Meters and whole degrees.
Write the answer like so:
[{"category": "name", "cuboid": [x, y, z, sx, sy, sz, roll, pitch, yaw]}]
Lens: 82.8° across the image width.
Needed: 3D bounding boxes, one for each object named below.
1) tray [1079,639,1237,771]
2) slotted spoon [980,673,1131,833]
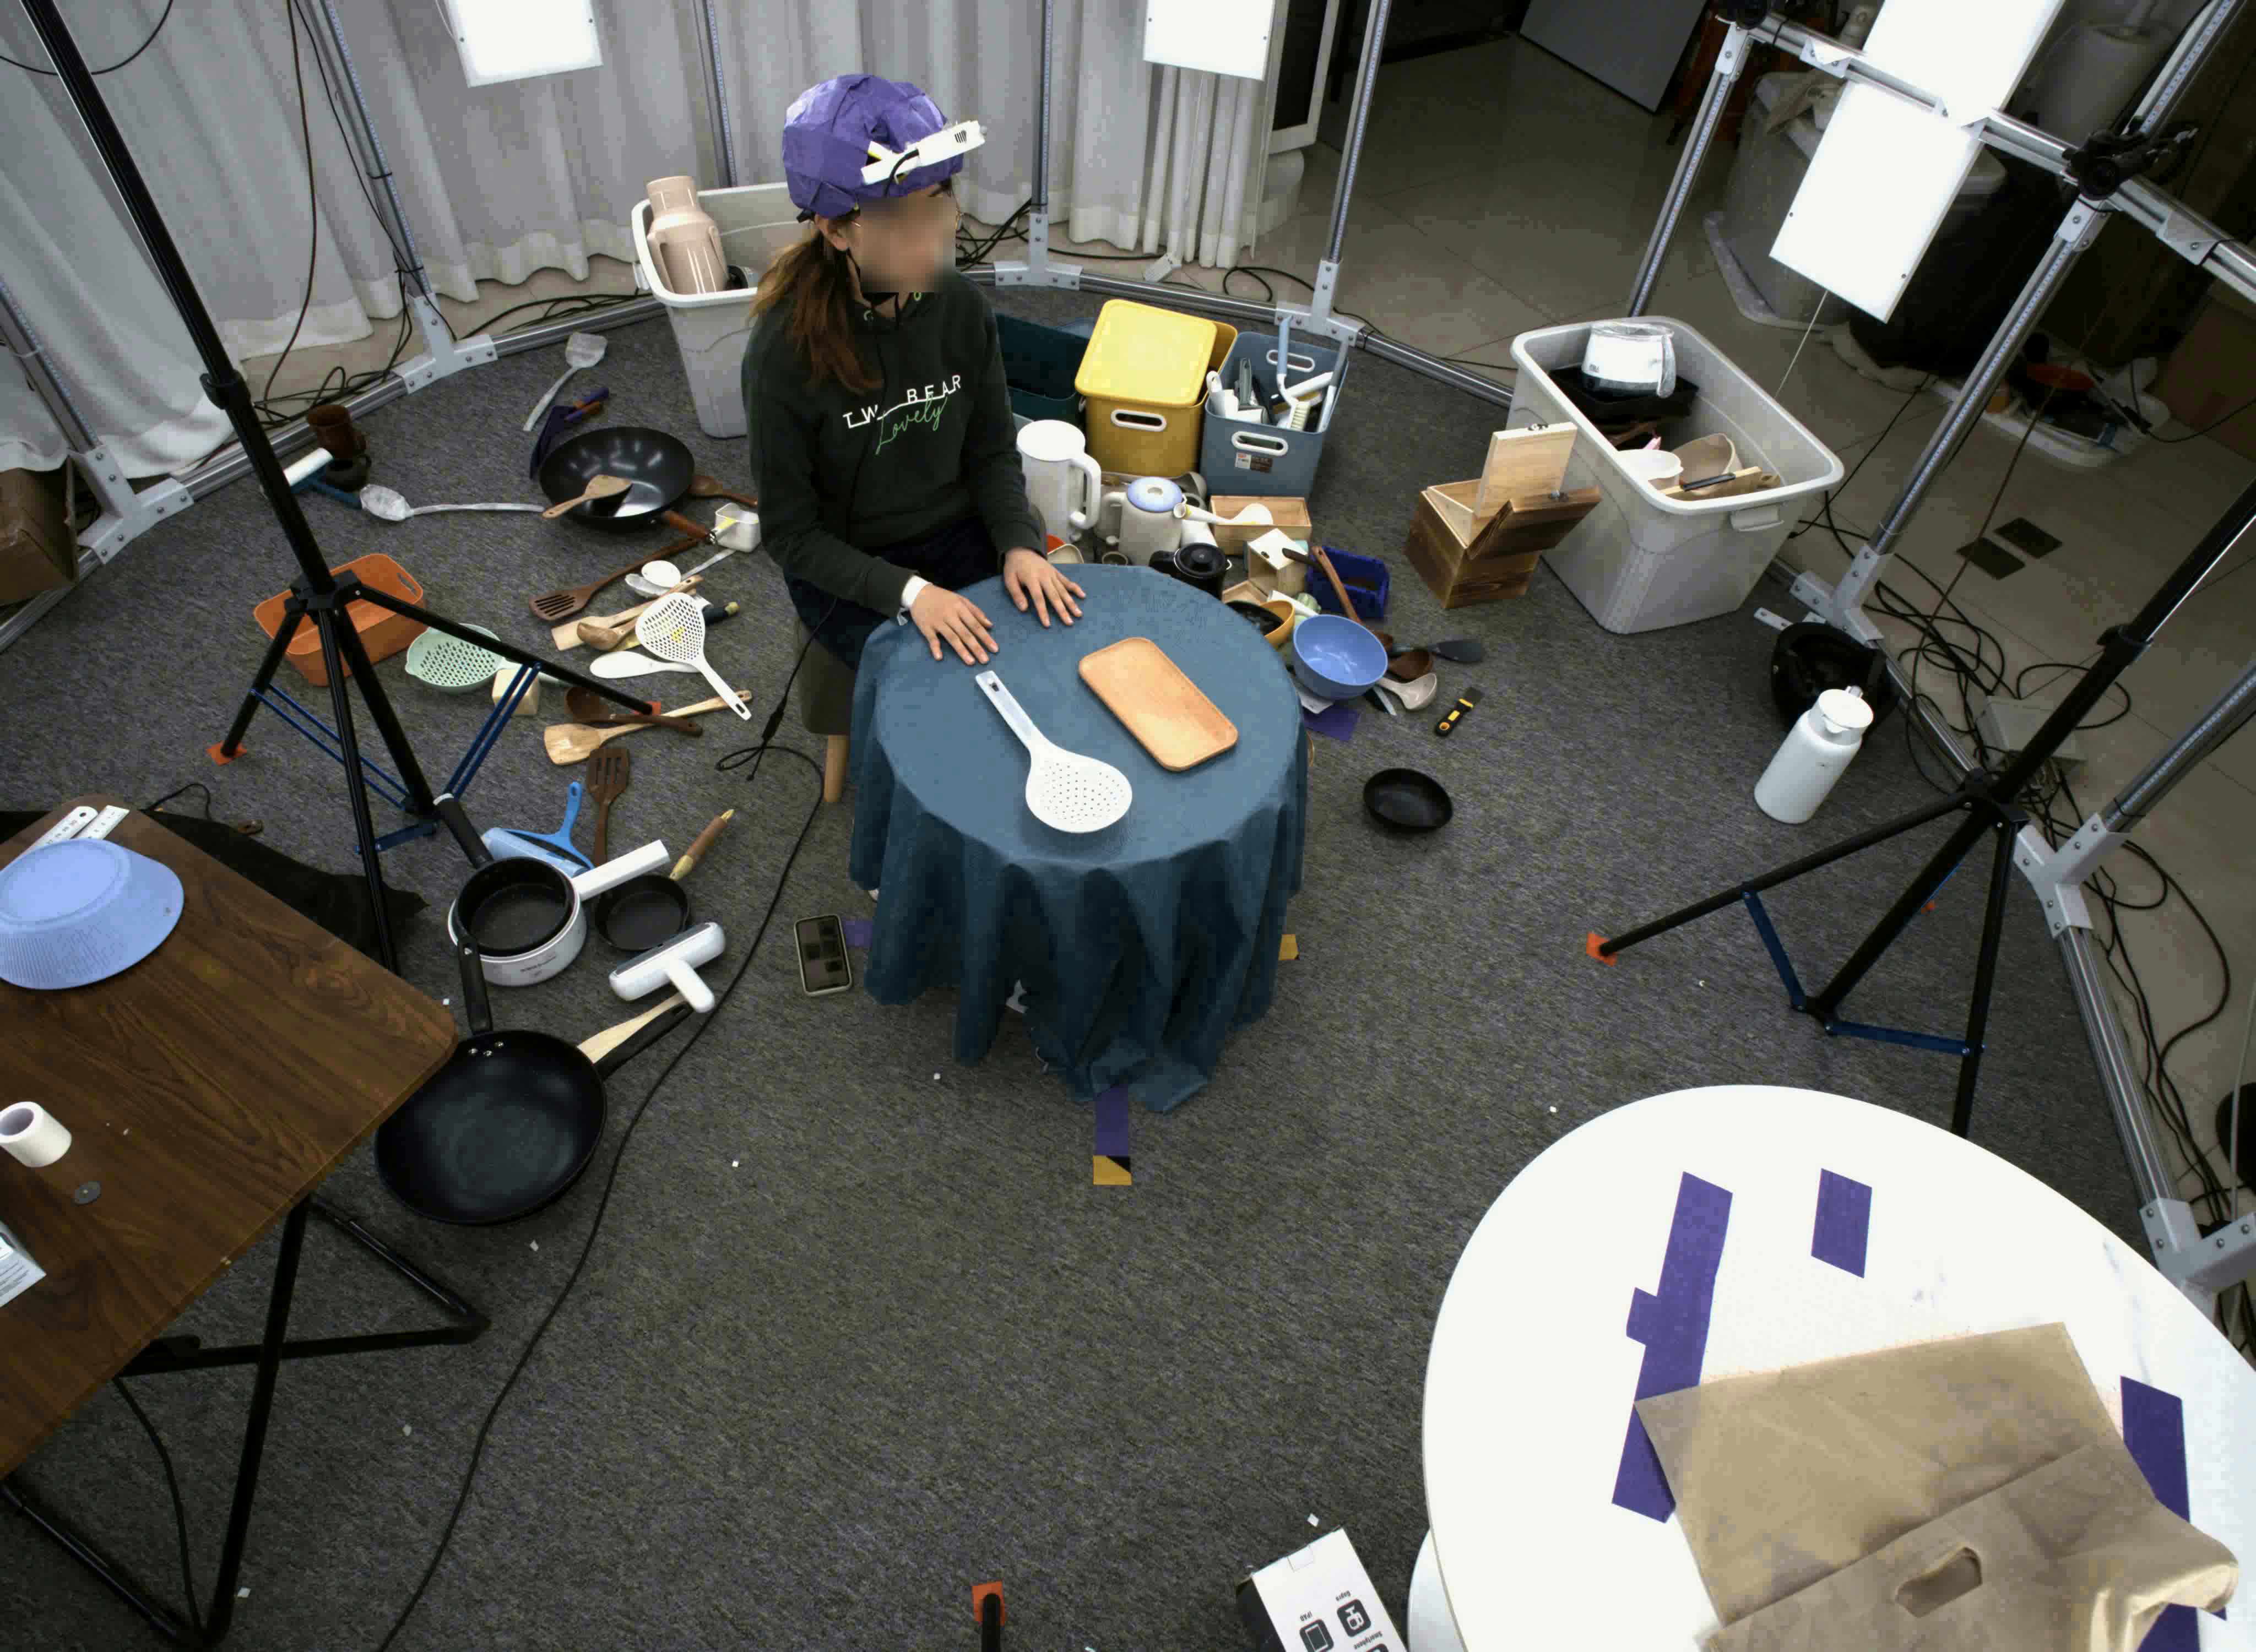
[{"category": "tray", "cuboid": [0.041, -0.175, 1.829, 0.131, 0.022, 0.256, -24, 53, -25]}, {"category": "slotted spoon", "cuboid": [-0.117, -0.104, 1.737, 0.136, 0.044, 0.357, -19, 52, -22]}]
